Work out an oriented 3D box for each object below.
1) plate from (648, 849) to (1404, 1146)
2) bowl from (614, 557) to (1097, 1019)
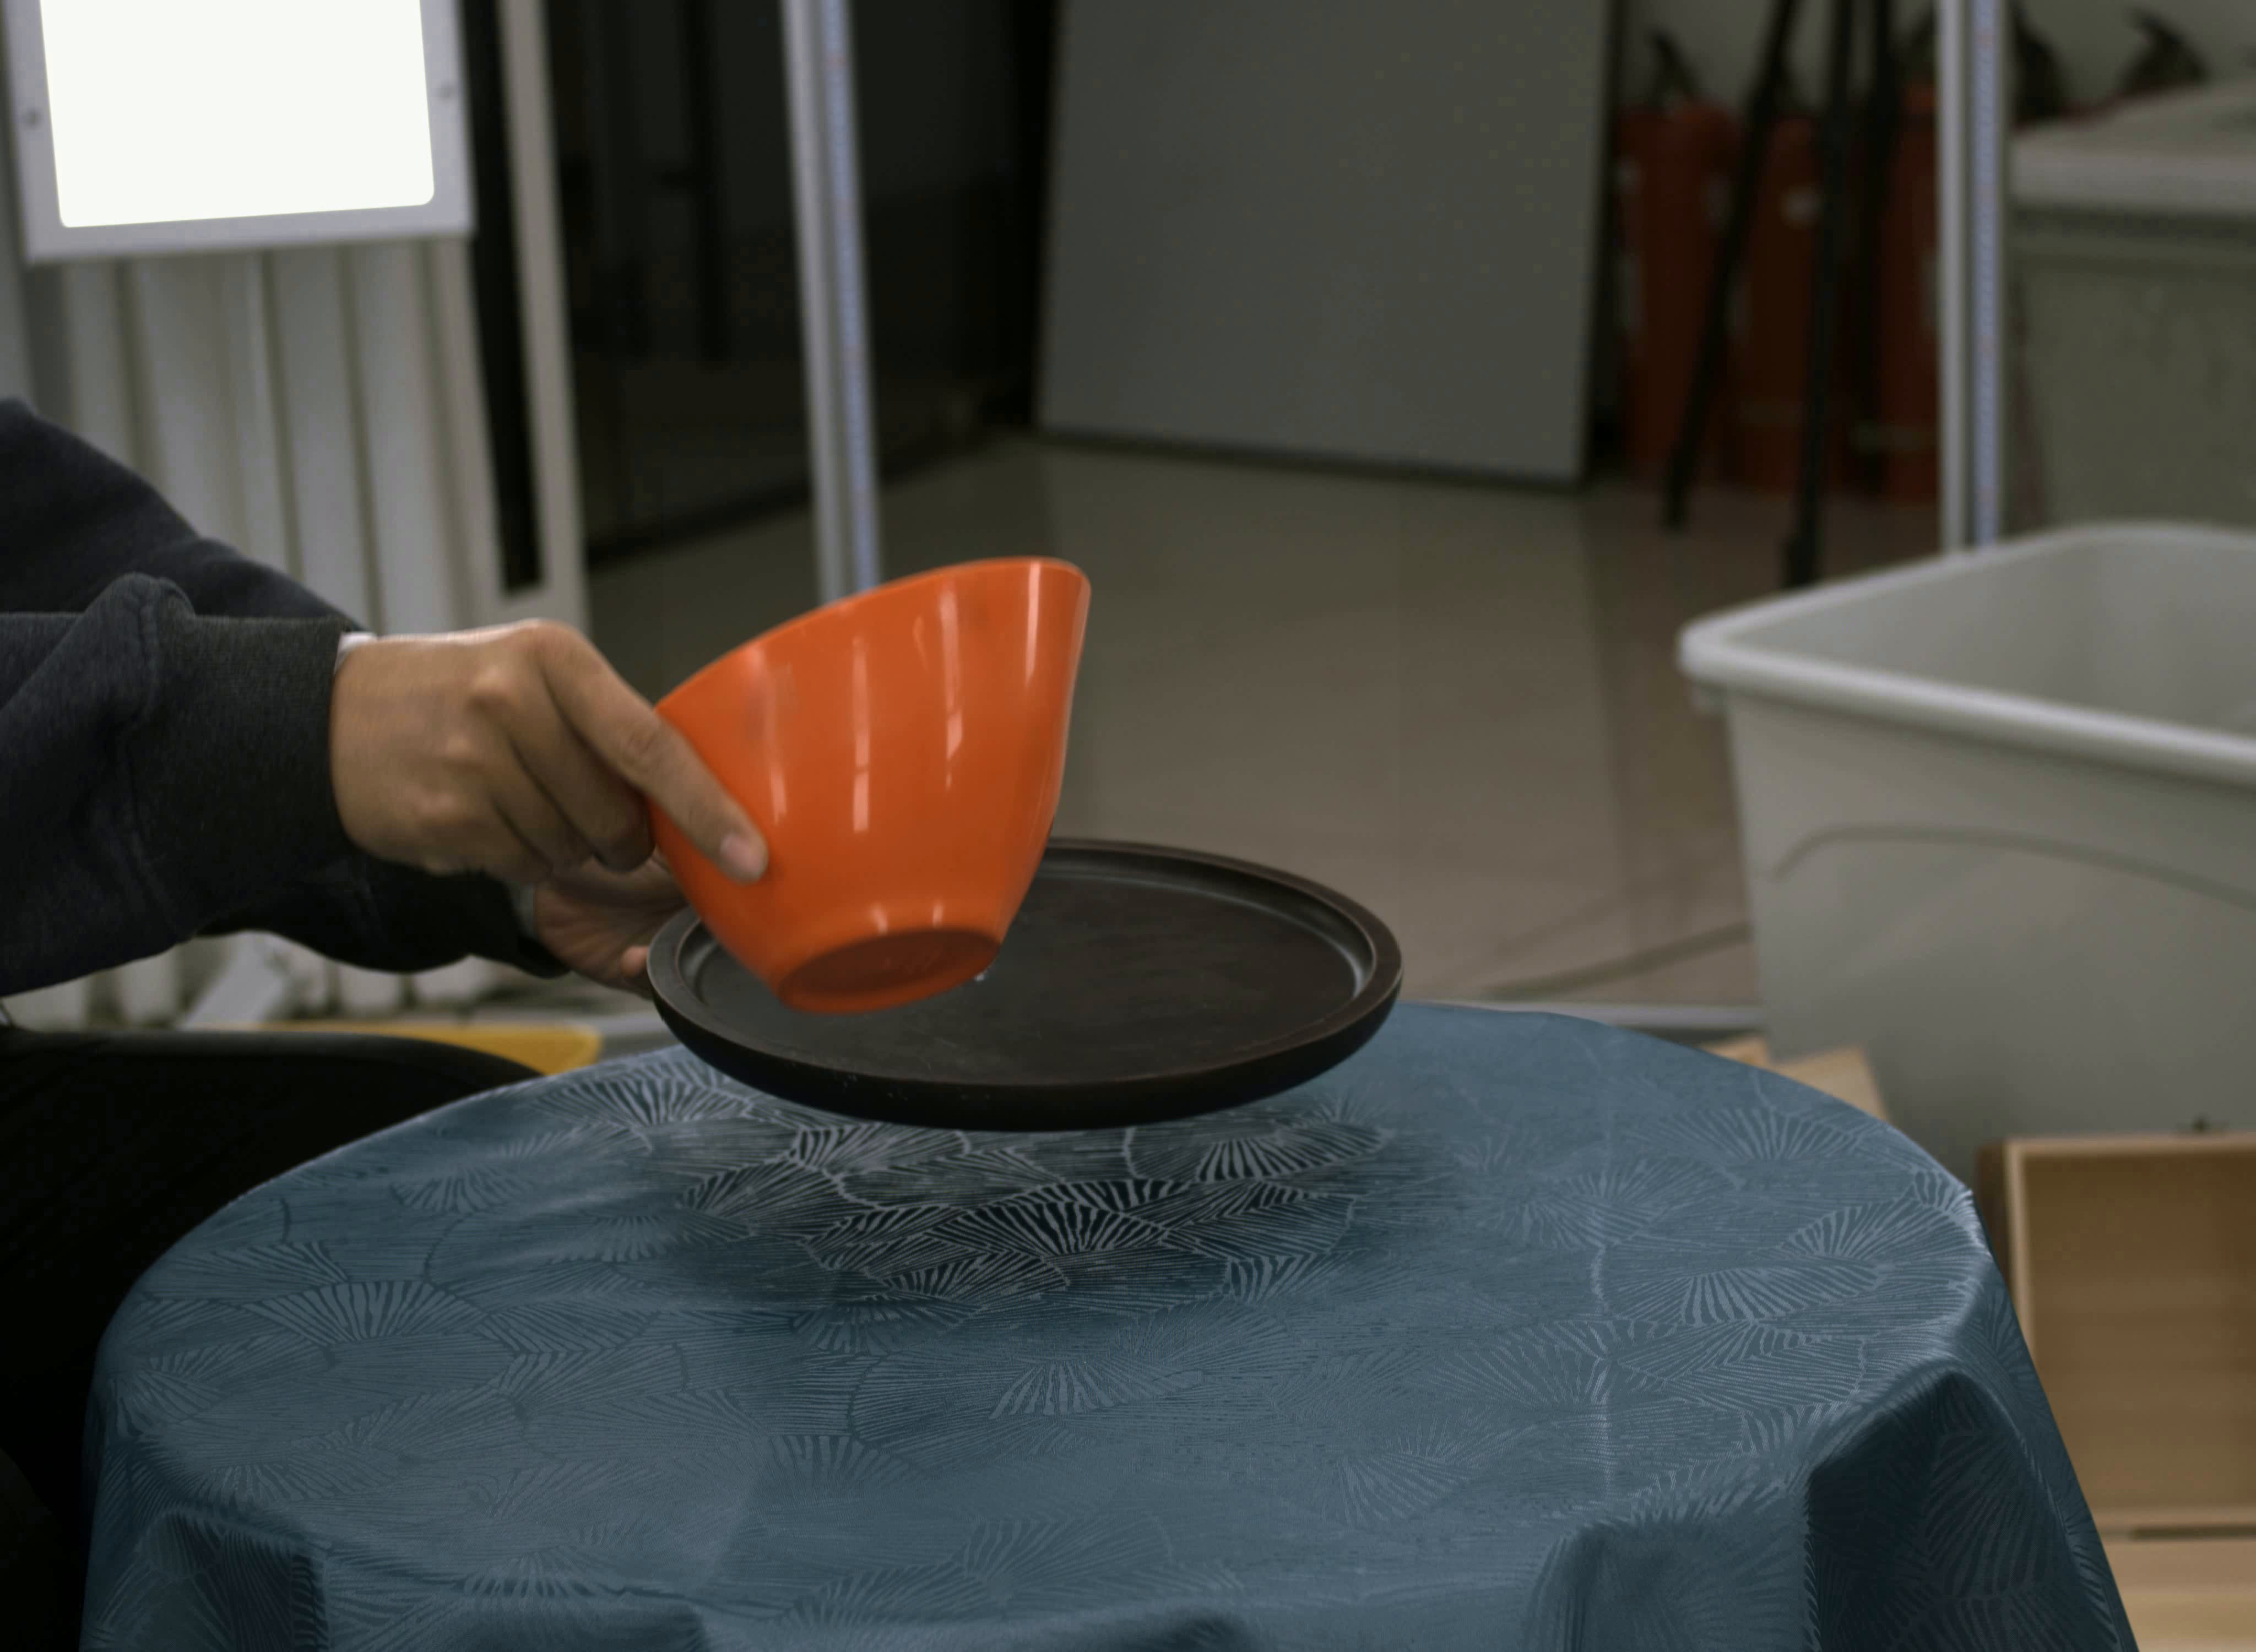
[{"bbox_3d":[-0.033,0.054,1.784,0.251,0.029,0.255,-1,18,-1],"label":"plate"},{"bbox_3d":[-0.069,-0.006,1.547,0.146,0.106,0.148,-11,-18,-5],"label":"bowl"}]
